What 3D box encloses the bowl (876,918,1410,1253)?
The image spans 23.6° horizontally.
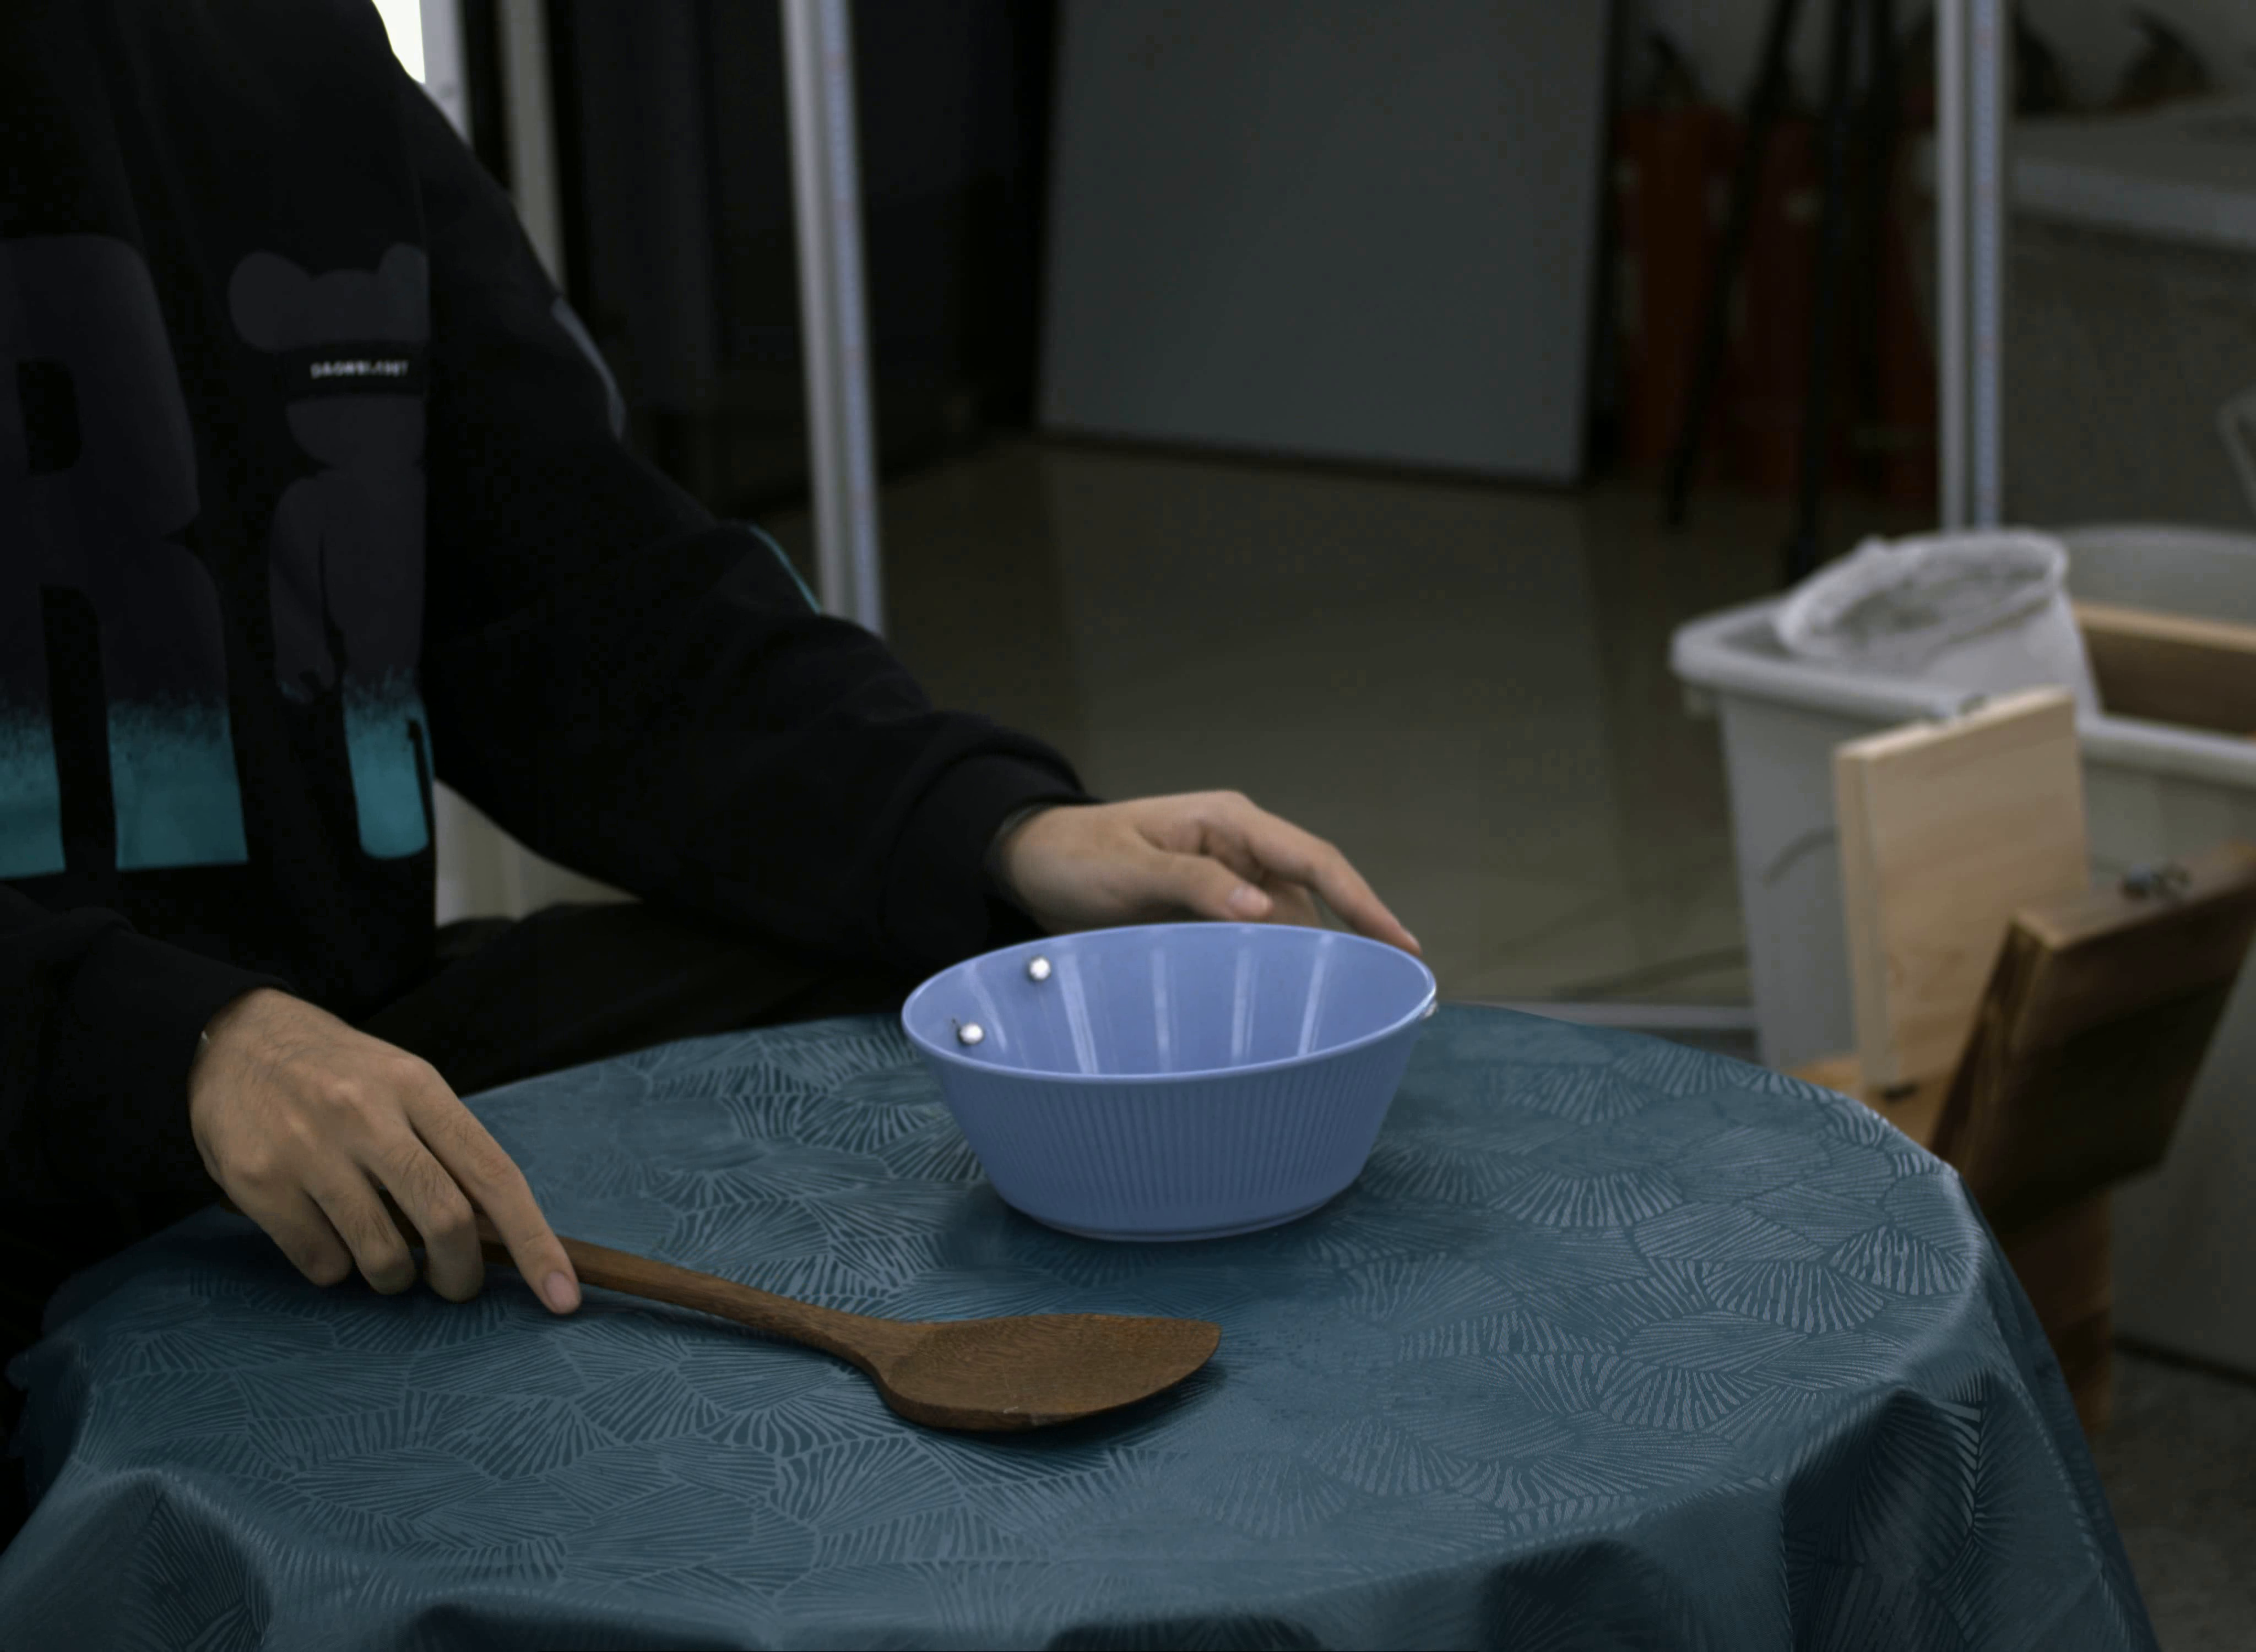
[{"bbox_3d":[0.006,0.087,1.755,0.174,0.071,0.176,-2,16,0],"label":"bowl"}]

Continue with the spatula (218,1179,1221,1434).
[{"bbox_3d":[-0.142,0.144,1.677,0.388,0.016,0.094,9,18,36],"label":"spatula"}]
